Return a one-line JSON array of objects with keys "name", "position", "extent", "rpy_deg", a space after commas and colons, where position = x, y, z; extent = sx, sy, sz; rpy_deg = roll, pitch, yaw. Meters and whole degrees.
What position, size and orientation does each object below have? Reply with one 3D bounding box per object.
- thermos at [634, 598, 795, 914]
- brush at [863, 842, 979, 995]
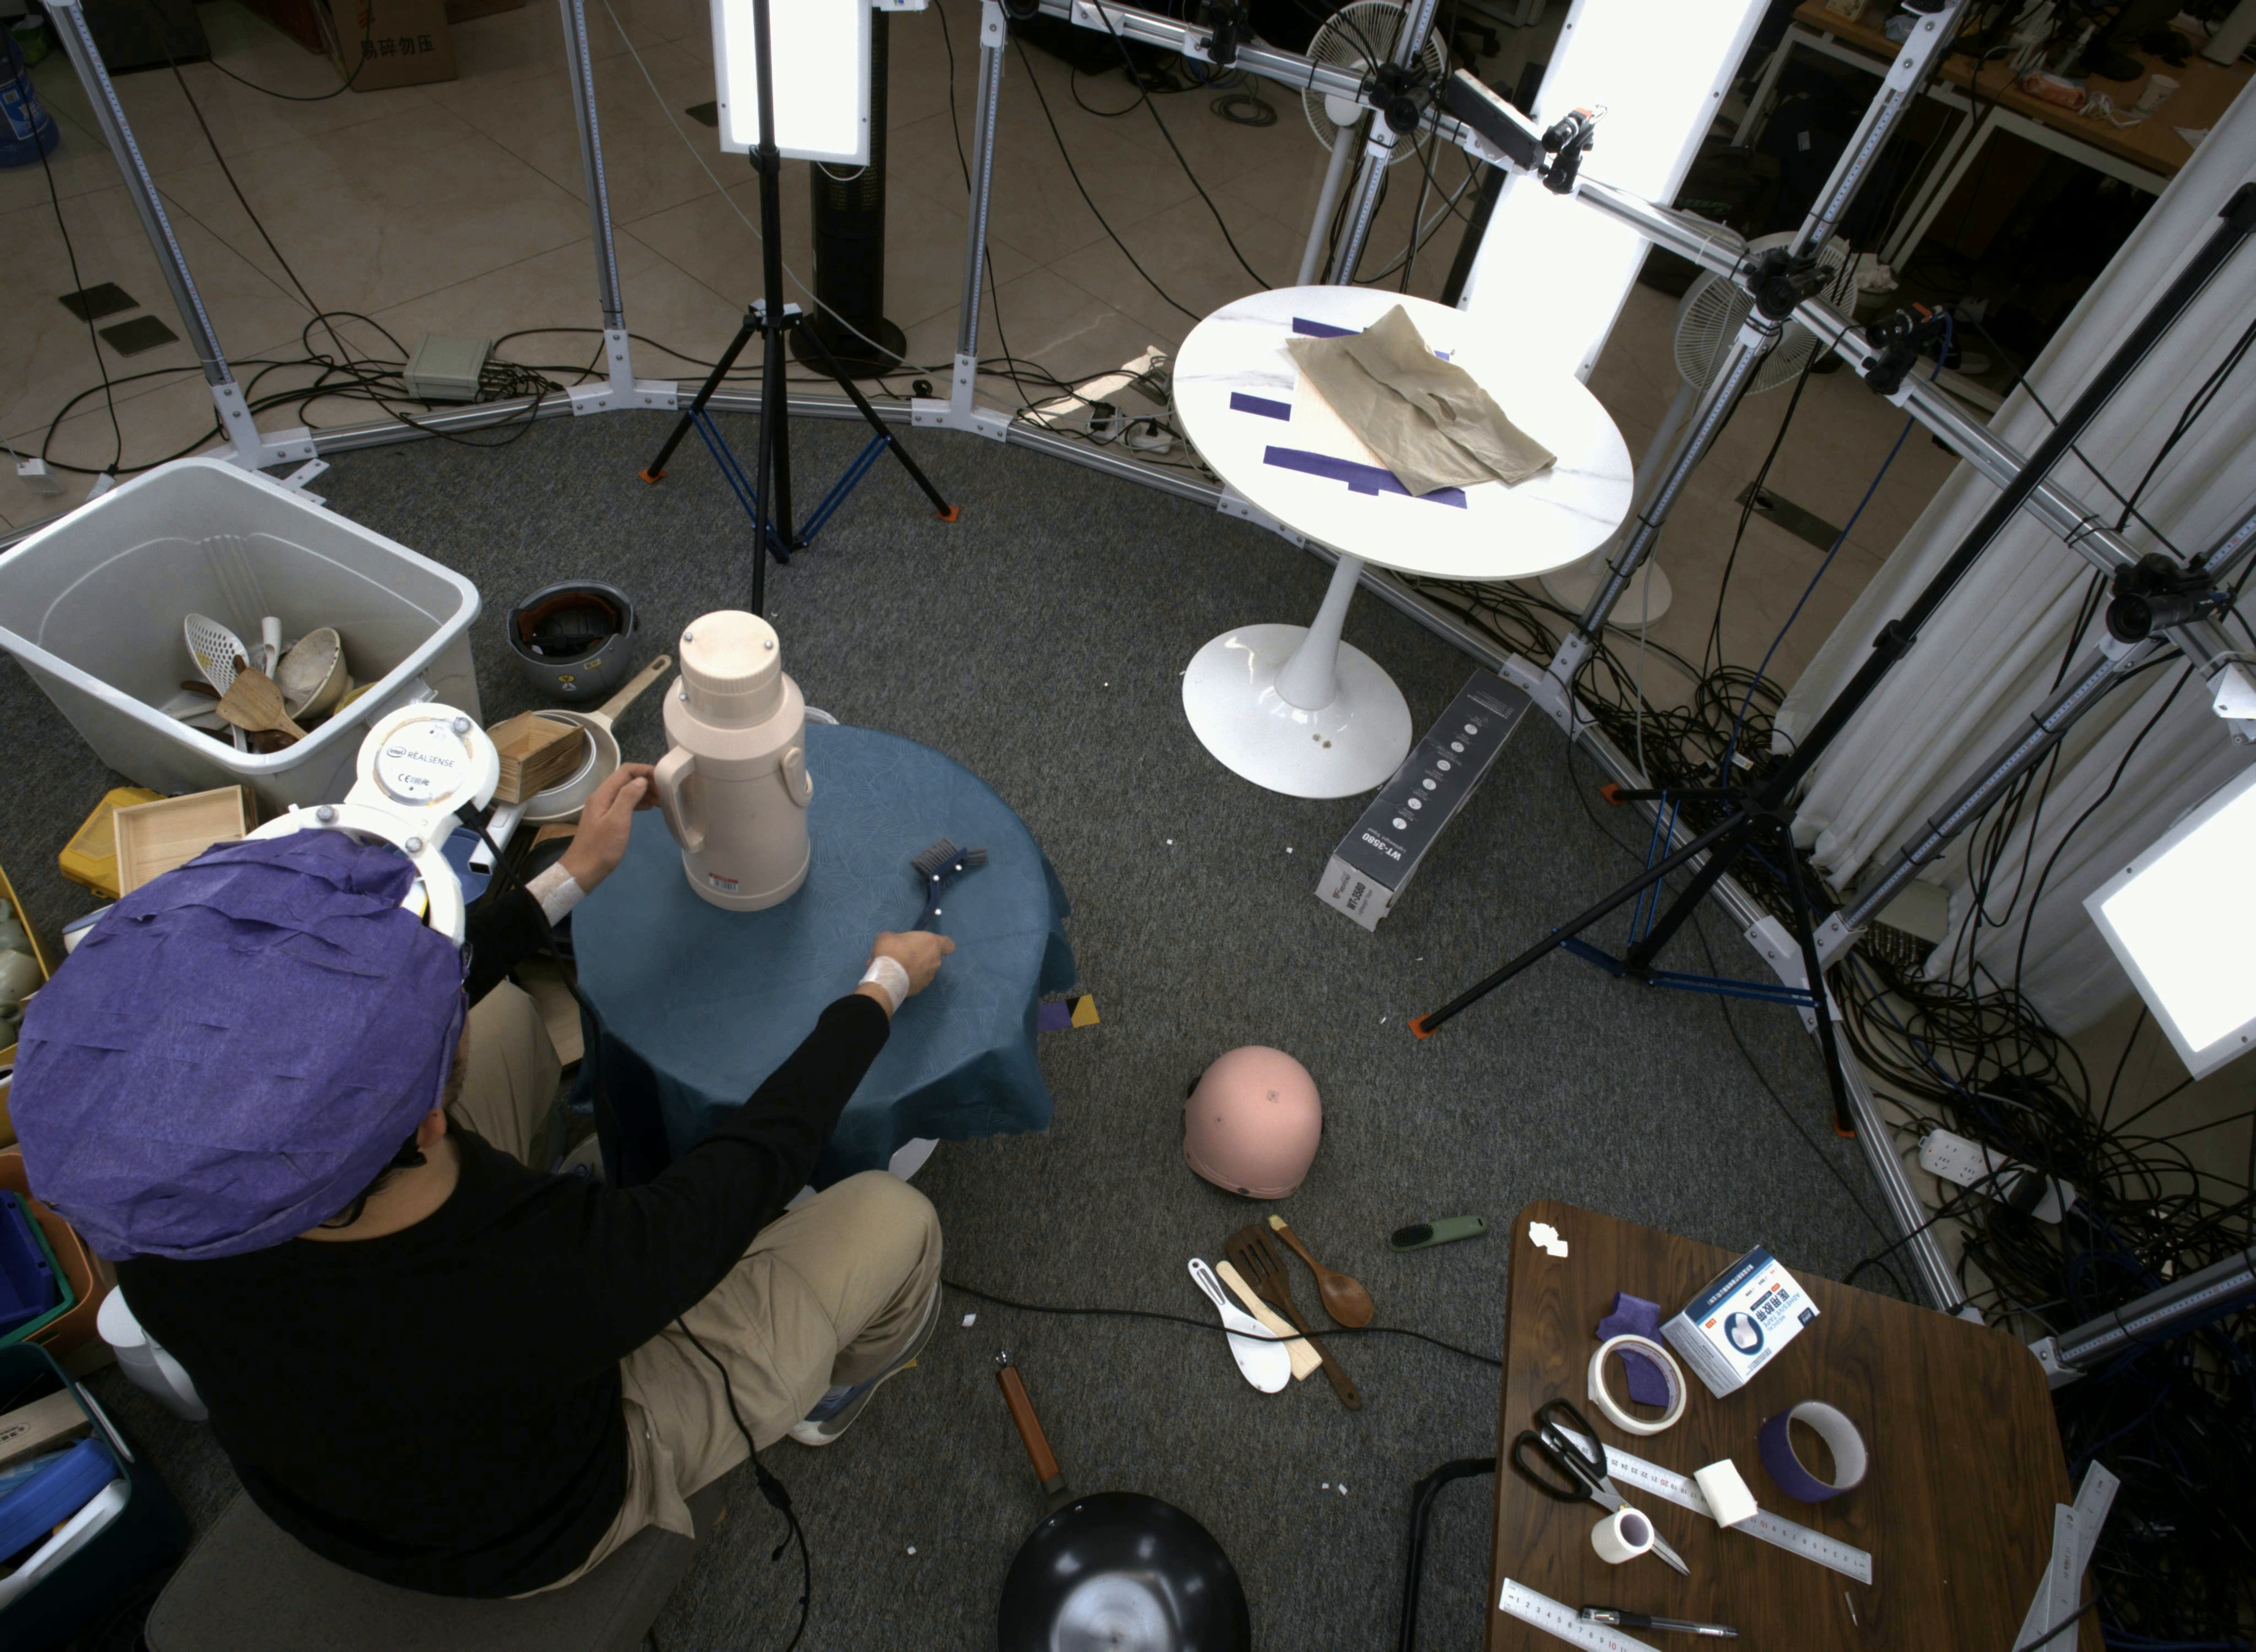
[{"name": "thermos", "position": [-0.486, -0.069, 1.497], "extent": [0.172, 0.414, 0.206], "rpy_deg": [30, 52, 10]}, {"name": "brush", "position": [-0.261, 0.112, 1.638], "extent": [0.096, 0.034, 0.269], "rpy_deg": [25, 42, -11]}]
